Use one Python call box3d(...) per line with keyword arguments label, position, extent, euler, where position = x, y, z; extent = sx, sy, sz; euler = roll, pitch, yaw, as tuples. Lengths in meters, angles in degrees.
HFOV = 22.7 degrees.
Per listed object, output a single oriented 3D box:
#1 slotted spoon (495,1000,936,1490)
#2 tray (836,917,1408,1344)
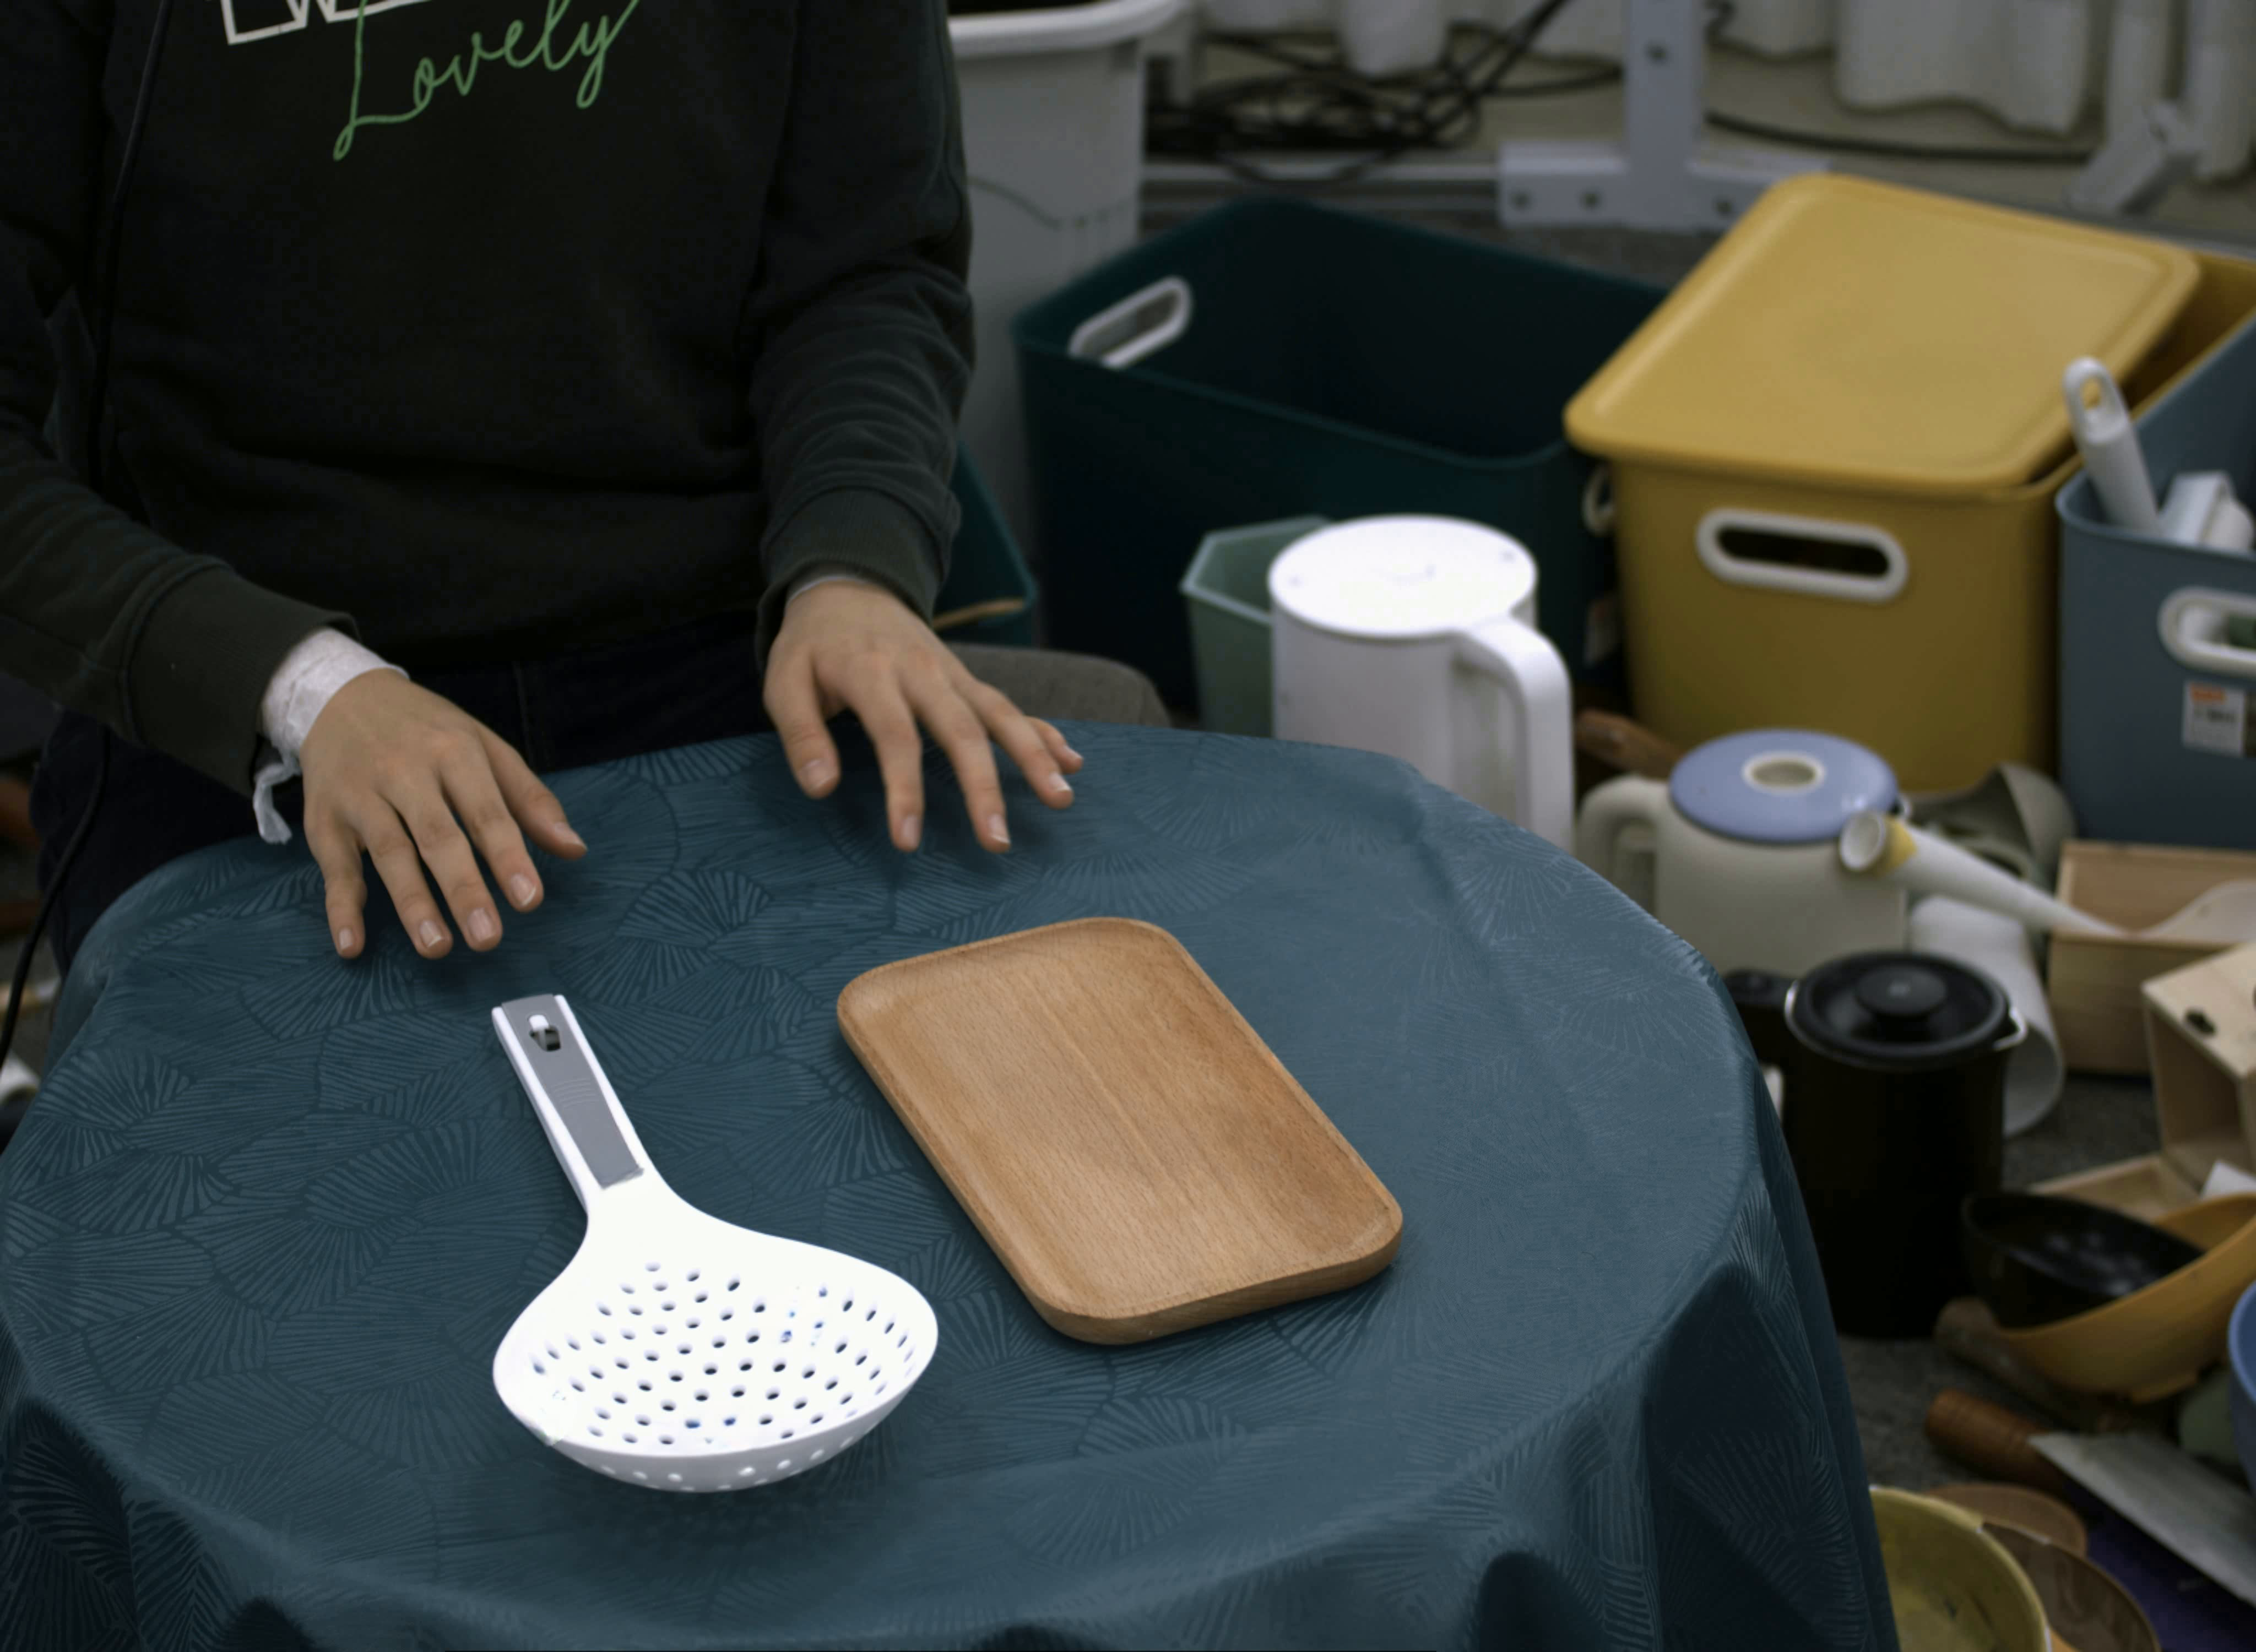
box3d(label="slotted spoon", position=(-0.158, 0.129, 1.814), extent=(0.136, 0.045, 0.353), euler=(-8, 27, -15))
box3d(label="tray", position=(-0.006, 0.099, 1.887), extent=(0.131, 0.022, 0.252), euler=(-10, 27, -18))
